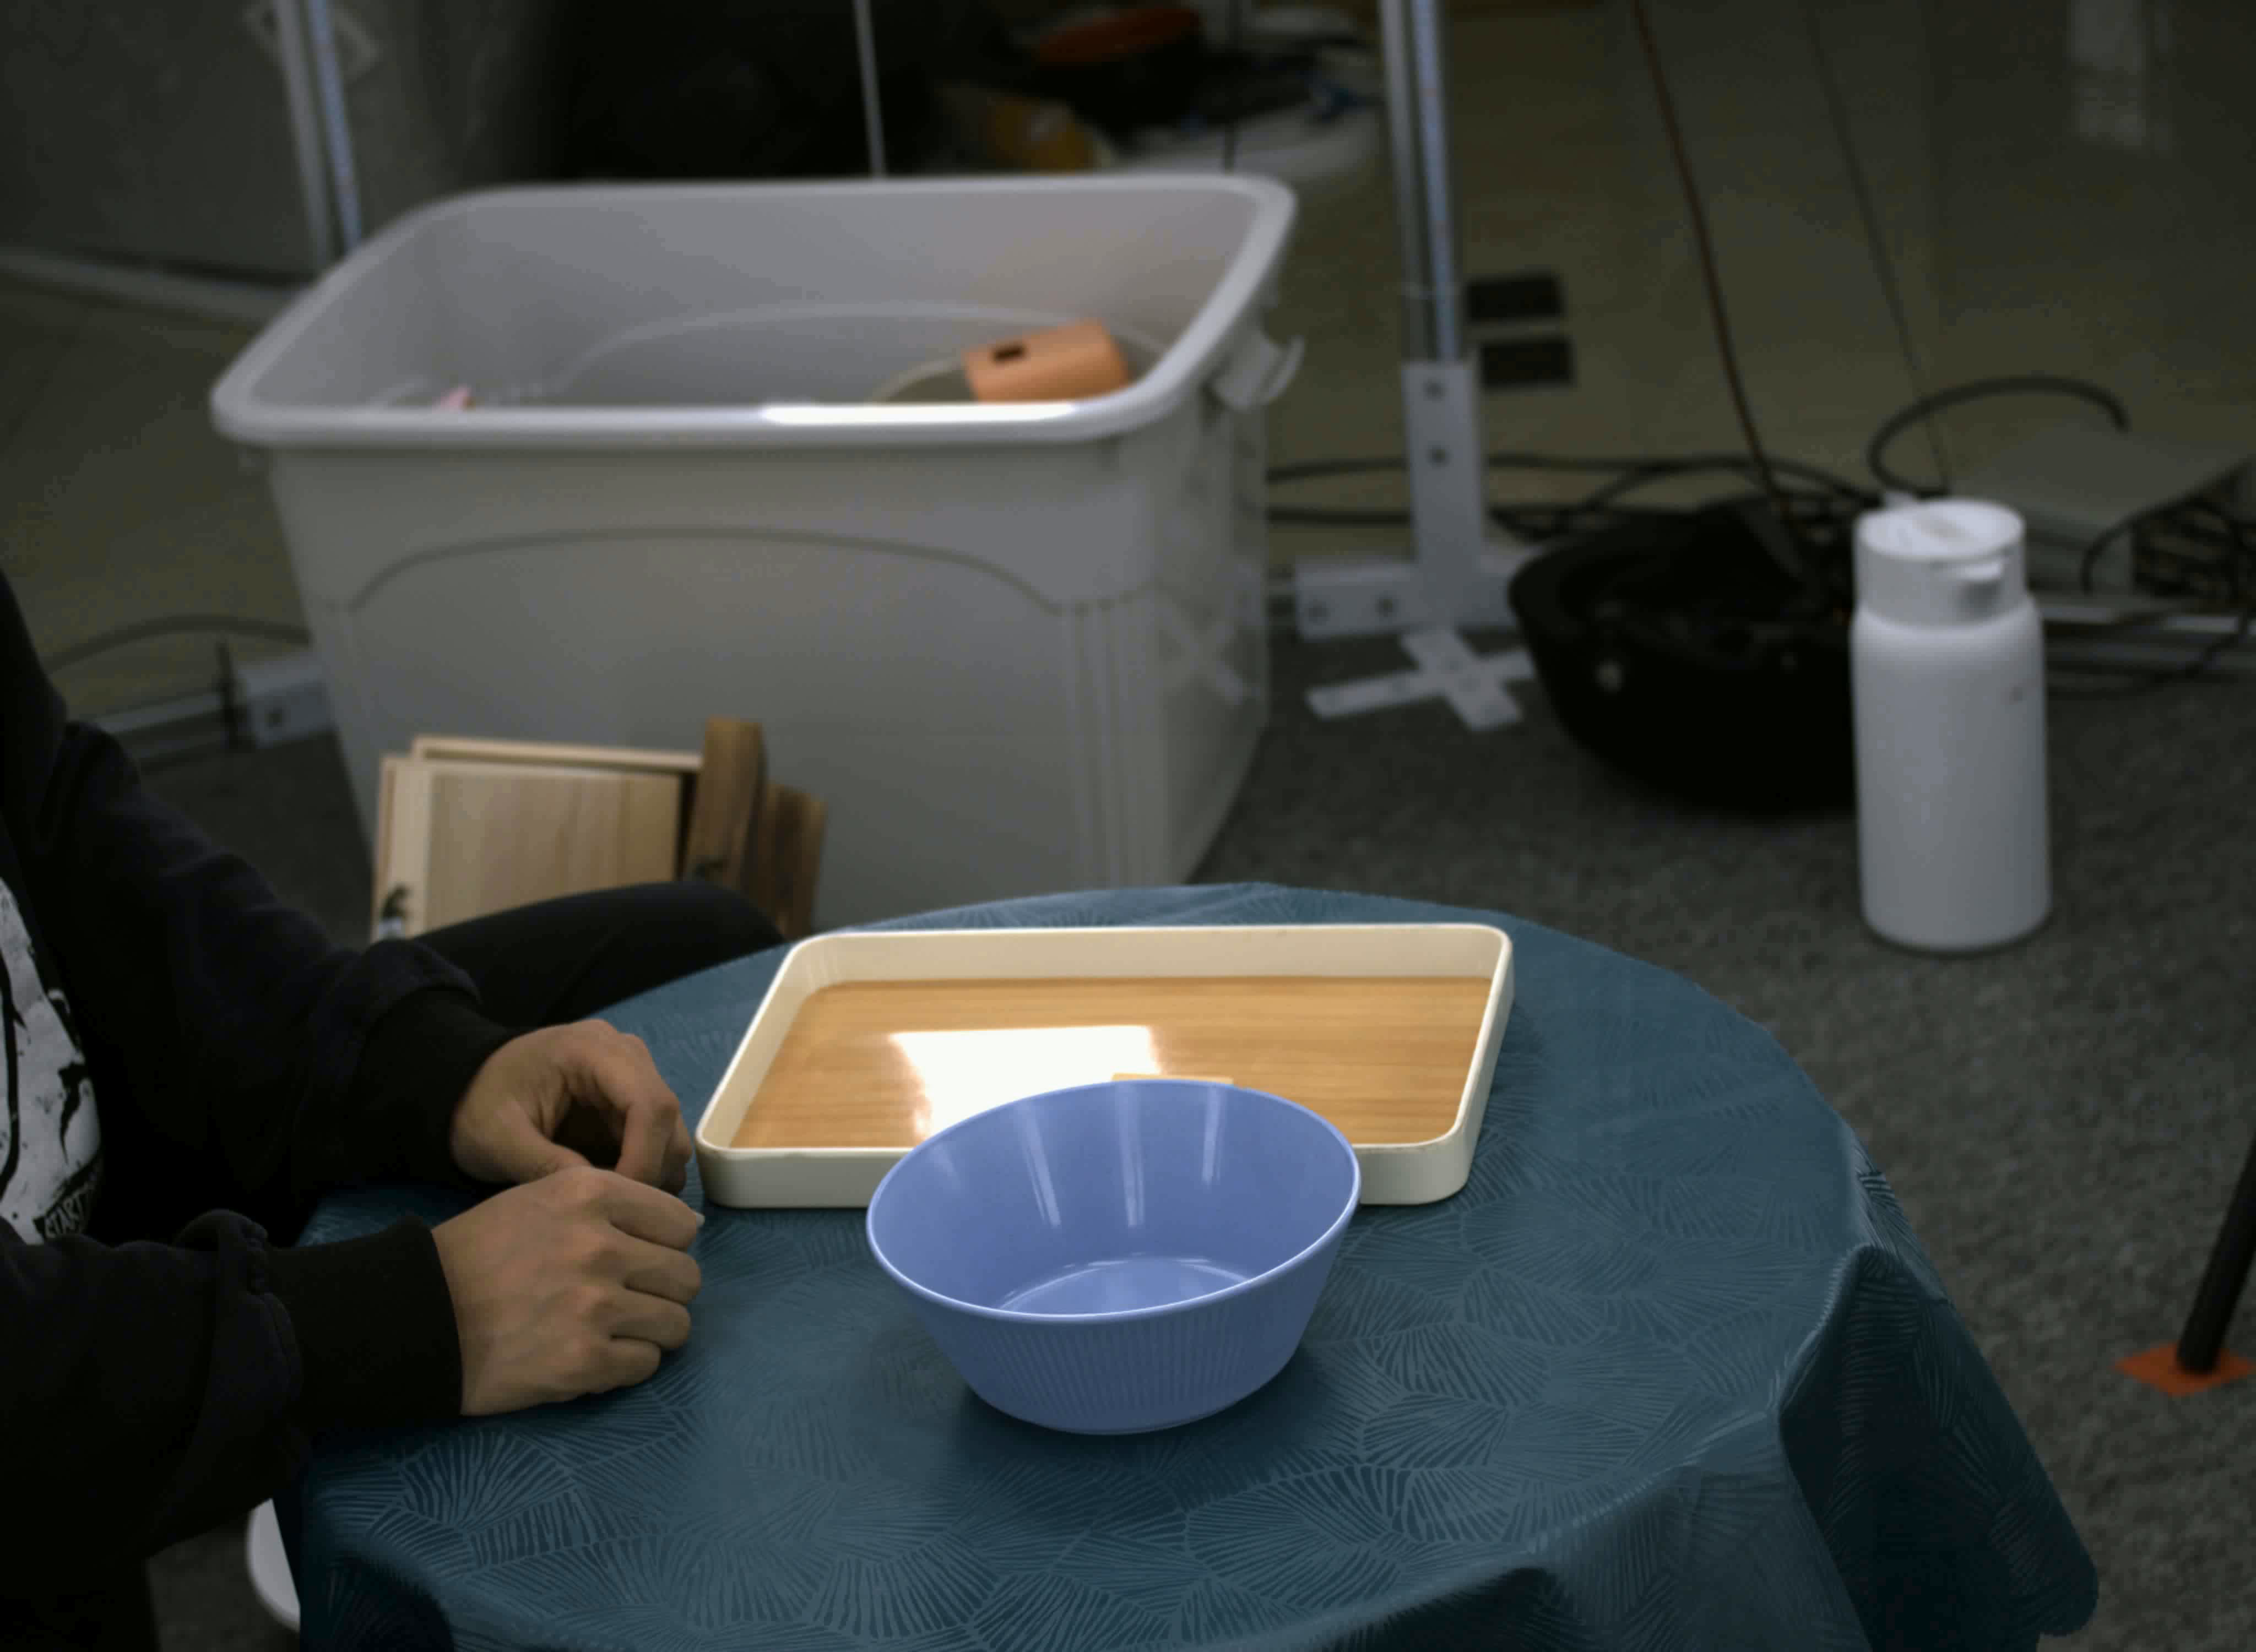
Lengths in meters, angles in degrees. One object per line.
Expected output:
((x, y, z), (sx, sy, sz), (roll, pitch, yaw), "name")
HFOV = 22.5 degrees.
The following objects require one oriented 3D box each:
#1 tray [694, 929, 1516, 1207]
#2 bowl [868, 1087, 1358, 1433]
((-0.006, 0.094, 2.220), (0.300, 0.028, 0.189), (-1, 25, 12), "tray")
((-0.003, 0.160, 2.023), (0.176, 0.071, 0.173), (-5, 24, 2), "bowl")
